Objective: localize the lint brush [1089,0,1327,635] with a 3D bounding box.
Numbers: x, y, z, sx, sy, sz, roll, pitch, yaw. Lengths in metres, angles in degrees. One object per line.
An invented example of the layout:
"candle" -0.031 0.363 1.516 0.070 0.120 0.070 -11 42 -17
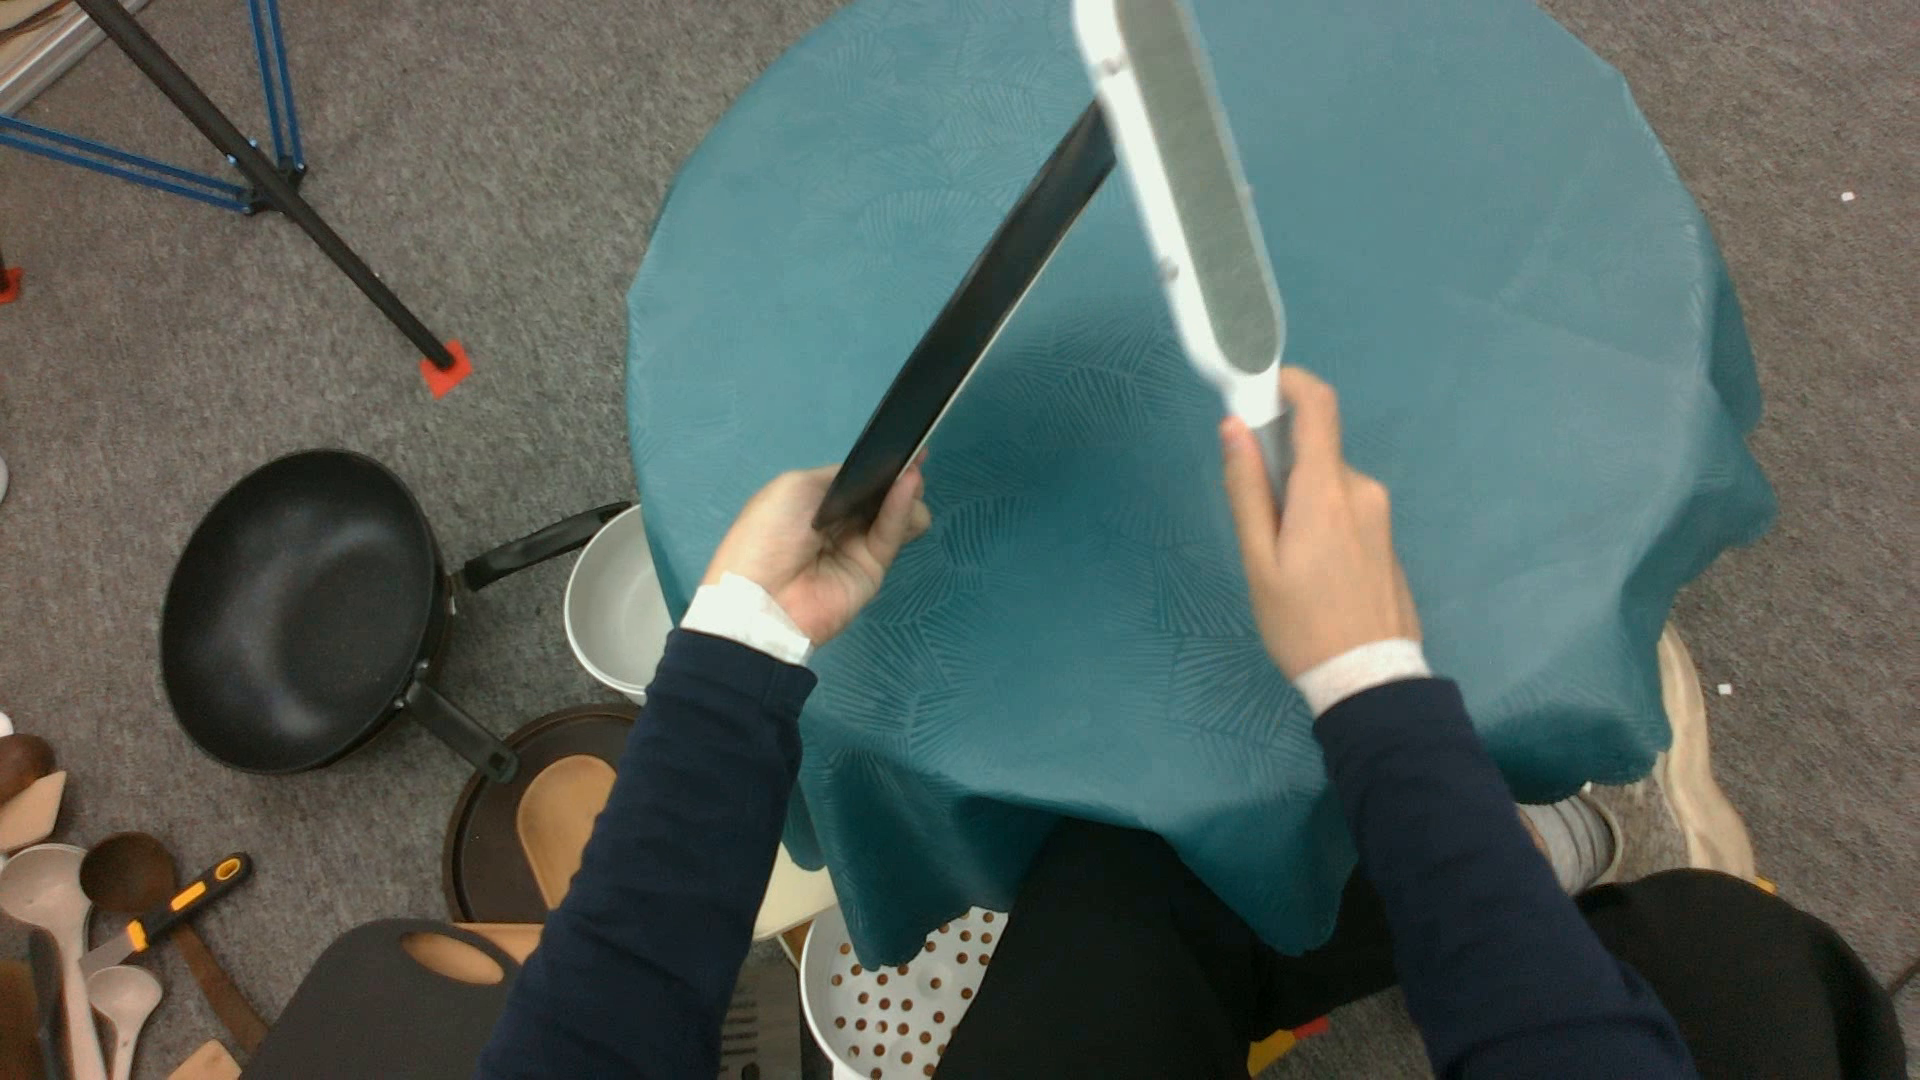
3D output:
"lint brush" 0.110 -0.103 0.590 0.021 0.308 0.060 -8 14 43

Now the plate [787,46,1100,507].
"plate" -0.002 -0.111 0.623 0.023 0.243 0.245 34 73 -5
